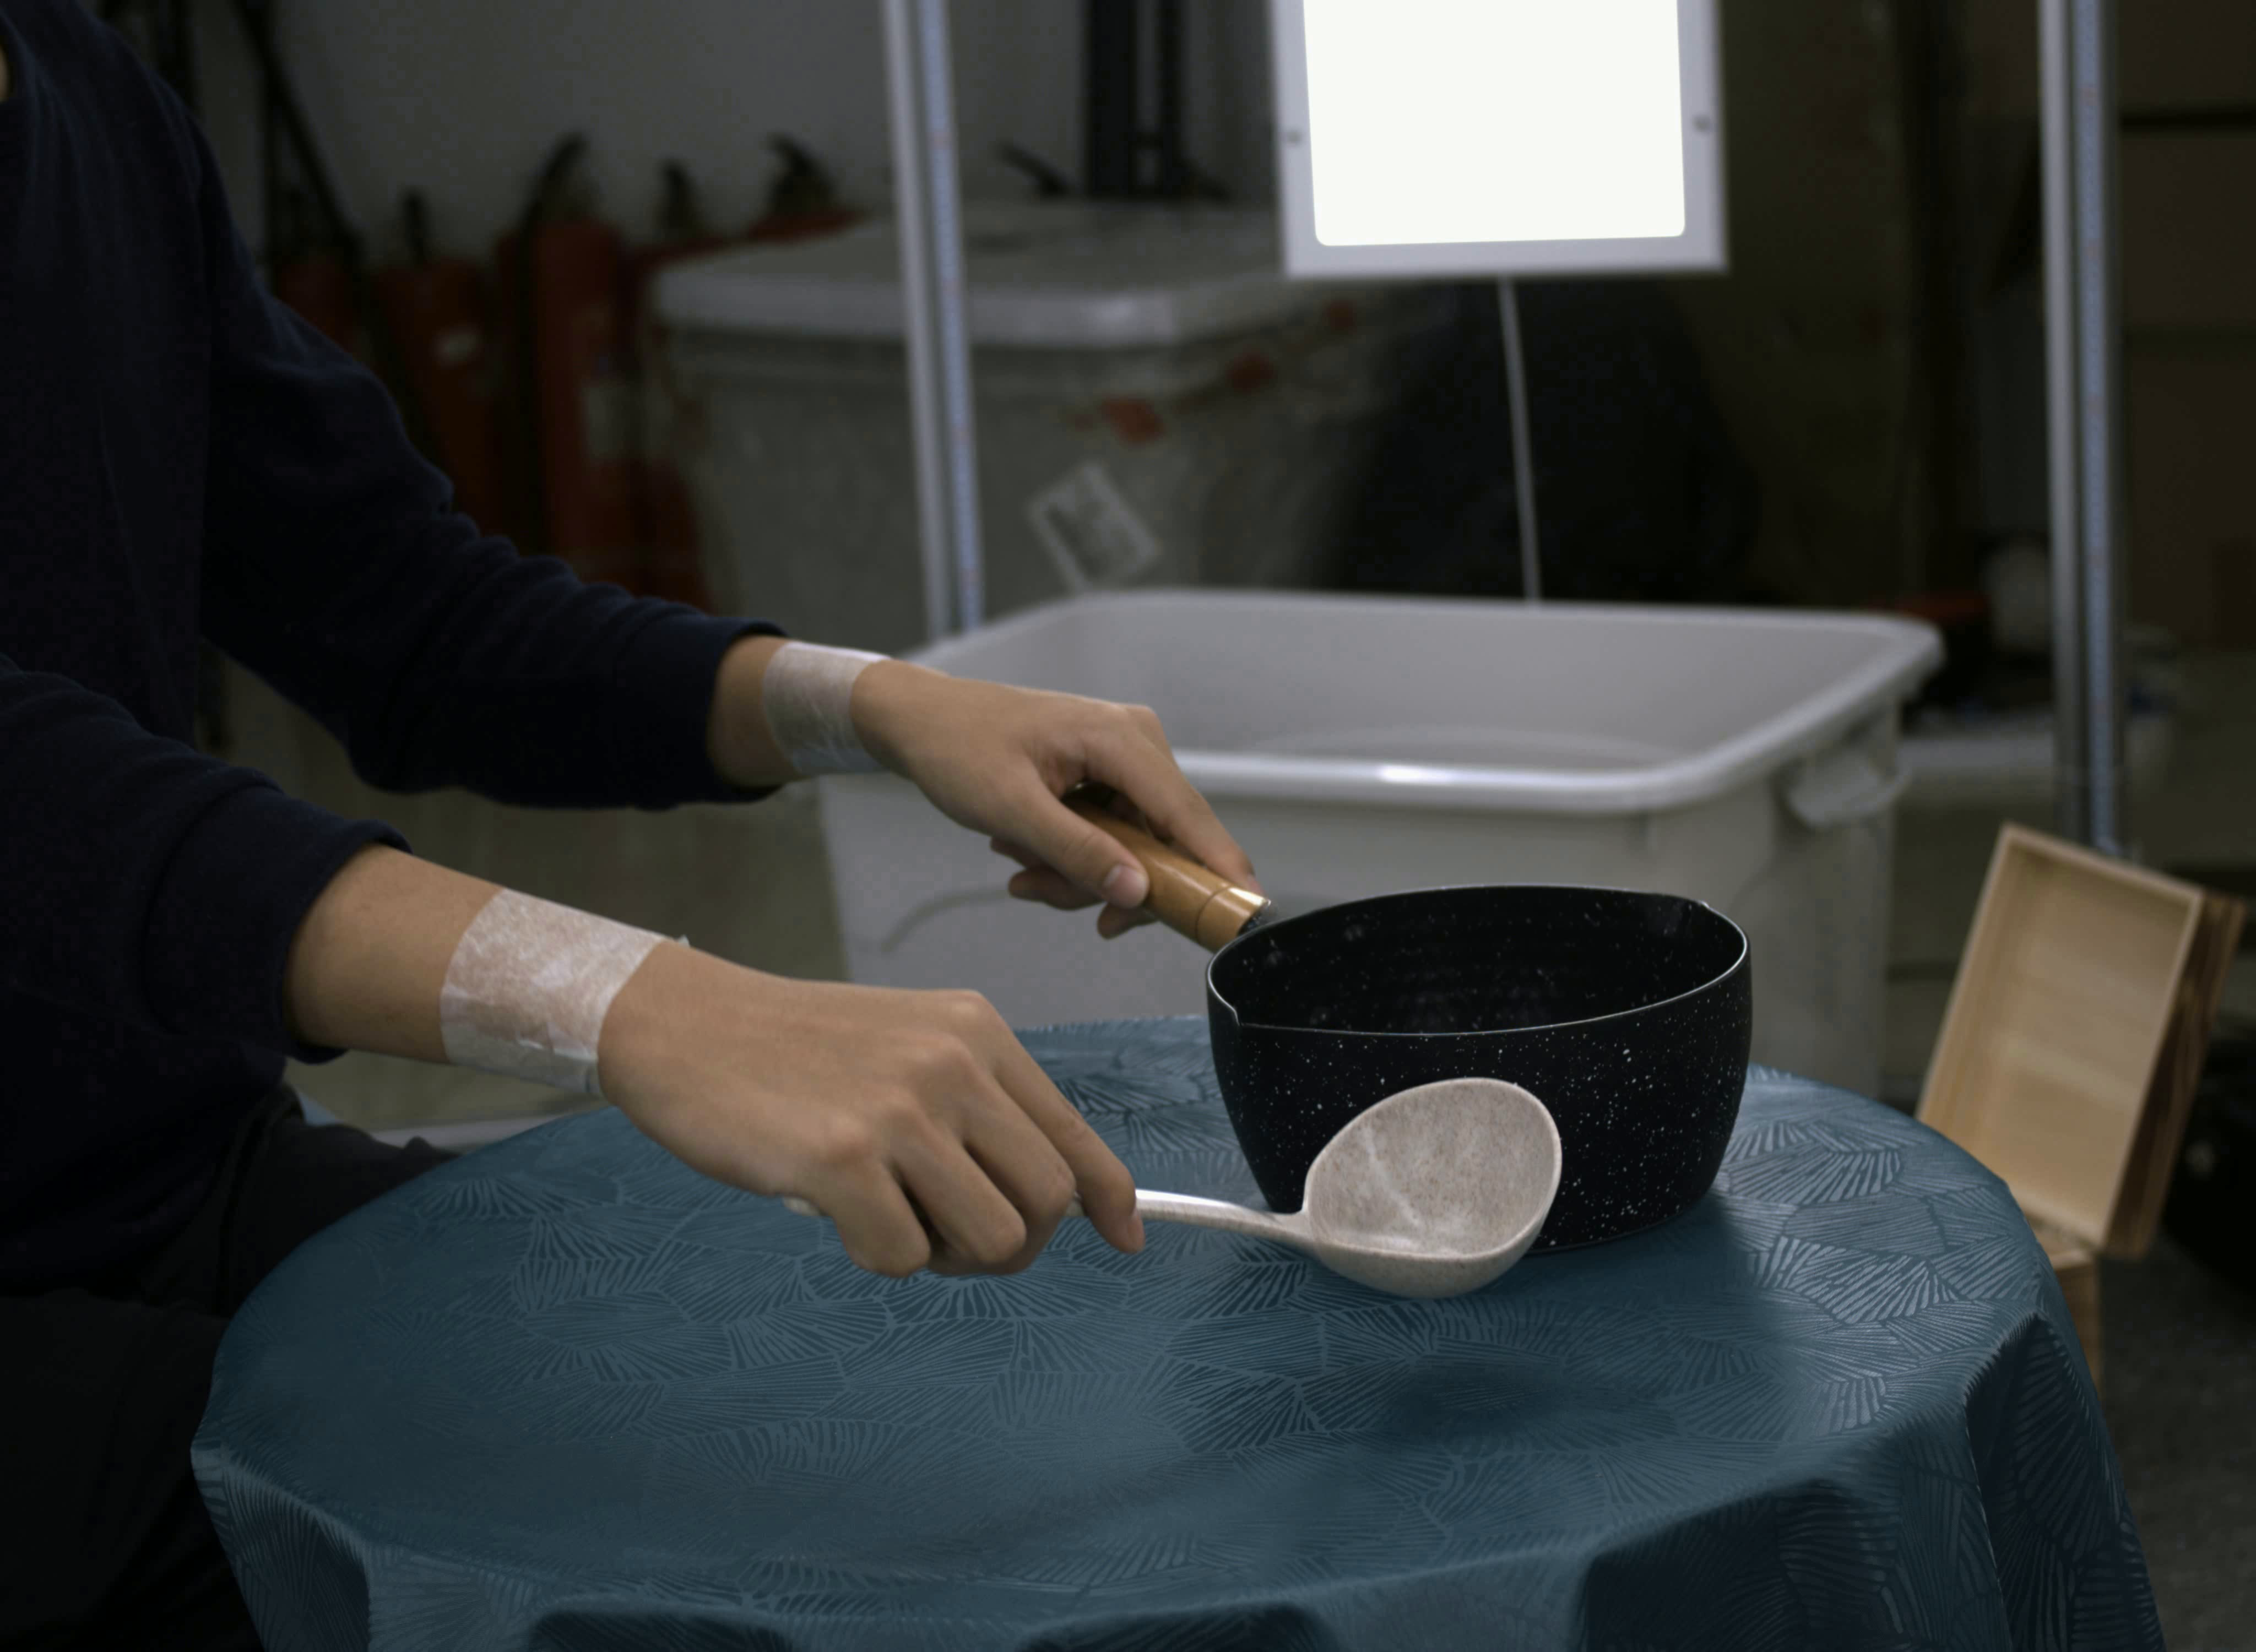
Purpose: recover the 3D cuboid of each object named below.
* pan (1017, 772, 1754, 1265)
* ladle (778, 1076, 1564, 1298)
[{"bbox_3d":[0.070,0.060,1.913,0.202,0.108,0.350,-16,19,-35],"label":"pan"},{"bbox_3d":[0.015,0.092,1.605,0.268,0.070,0.091,12,14,-41],"label":"ladle"}]
